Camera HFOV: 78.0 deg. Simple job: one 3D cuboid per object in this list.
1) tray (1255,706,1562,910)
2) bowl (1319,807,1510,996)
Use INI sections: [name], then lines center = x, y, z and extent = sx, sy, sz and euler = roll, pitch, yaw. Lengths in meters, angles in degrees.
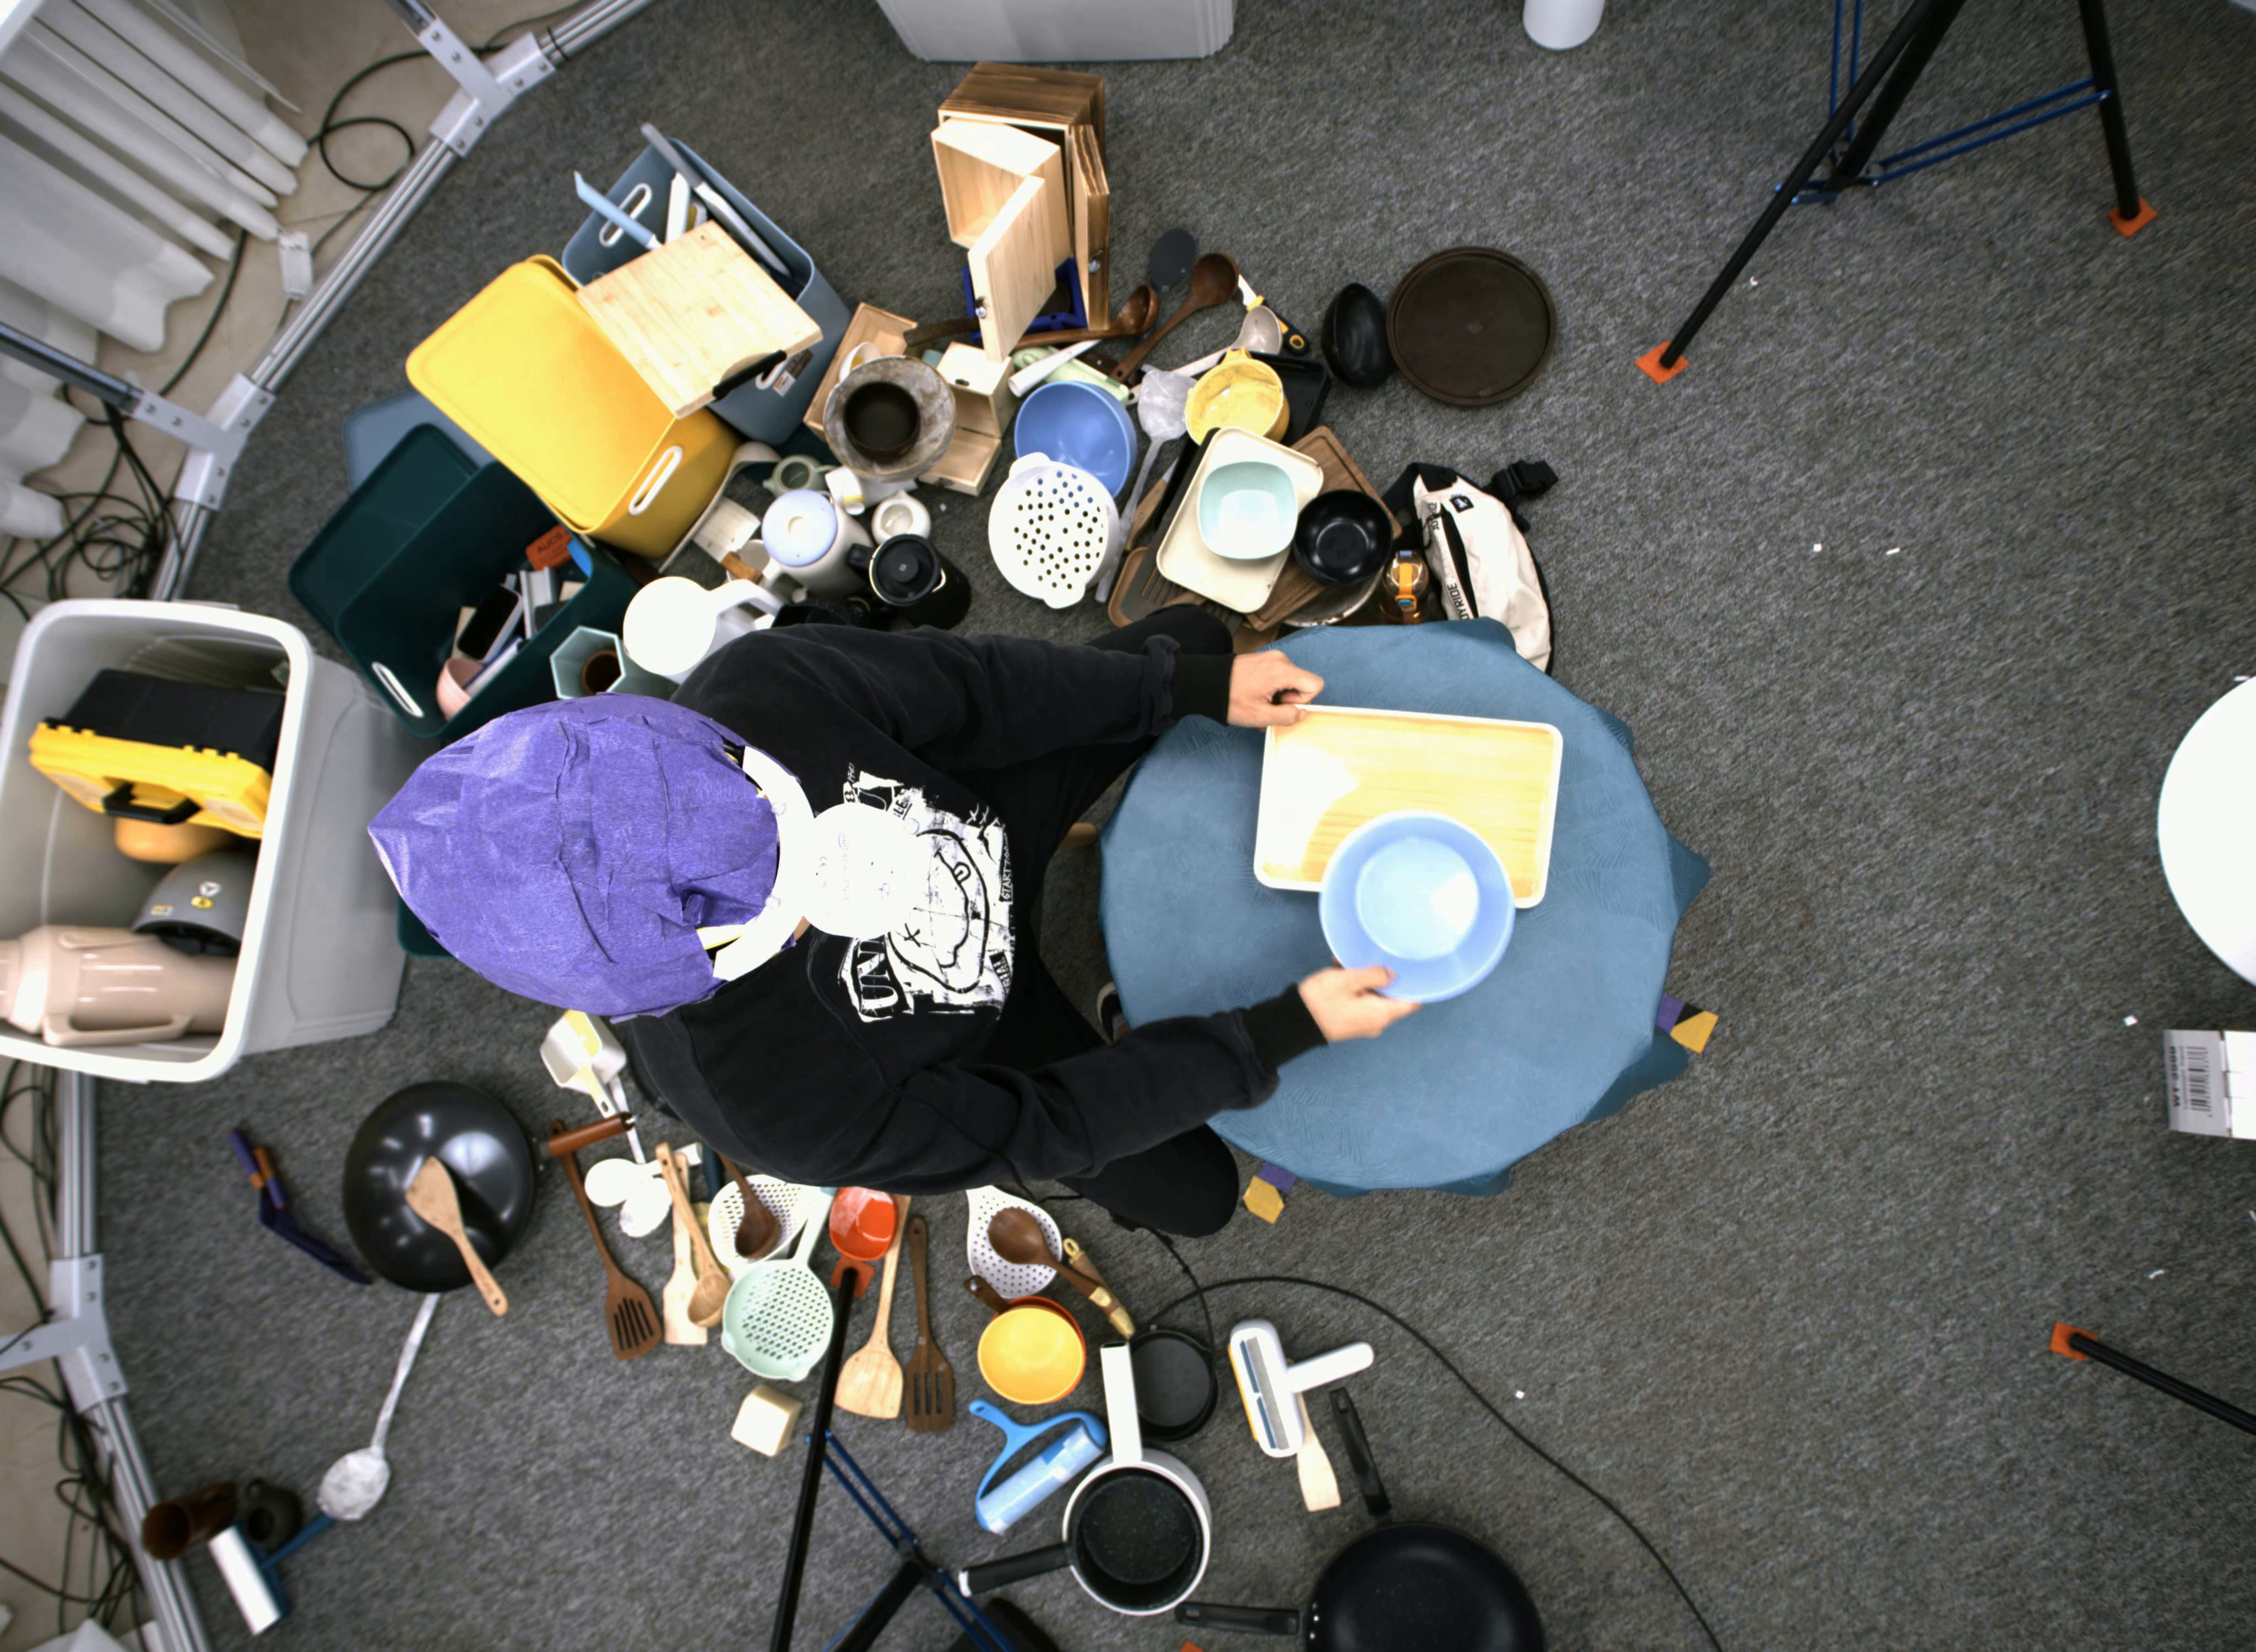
[tray]
center = 0.286, -0.021, 1.416
extent = 0.301, 0.027, 0.193
euler = 4, 100, 2
[bowl]
center = 0.272, 0.068, 1.310
extent = 0.177, 0.070, 0.176
euler = 1, 94, 15
